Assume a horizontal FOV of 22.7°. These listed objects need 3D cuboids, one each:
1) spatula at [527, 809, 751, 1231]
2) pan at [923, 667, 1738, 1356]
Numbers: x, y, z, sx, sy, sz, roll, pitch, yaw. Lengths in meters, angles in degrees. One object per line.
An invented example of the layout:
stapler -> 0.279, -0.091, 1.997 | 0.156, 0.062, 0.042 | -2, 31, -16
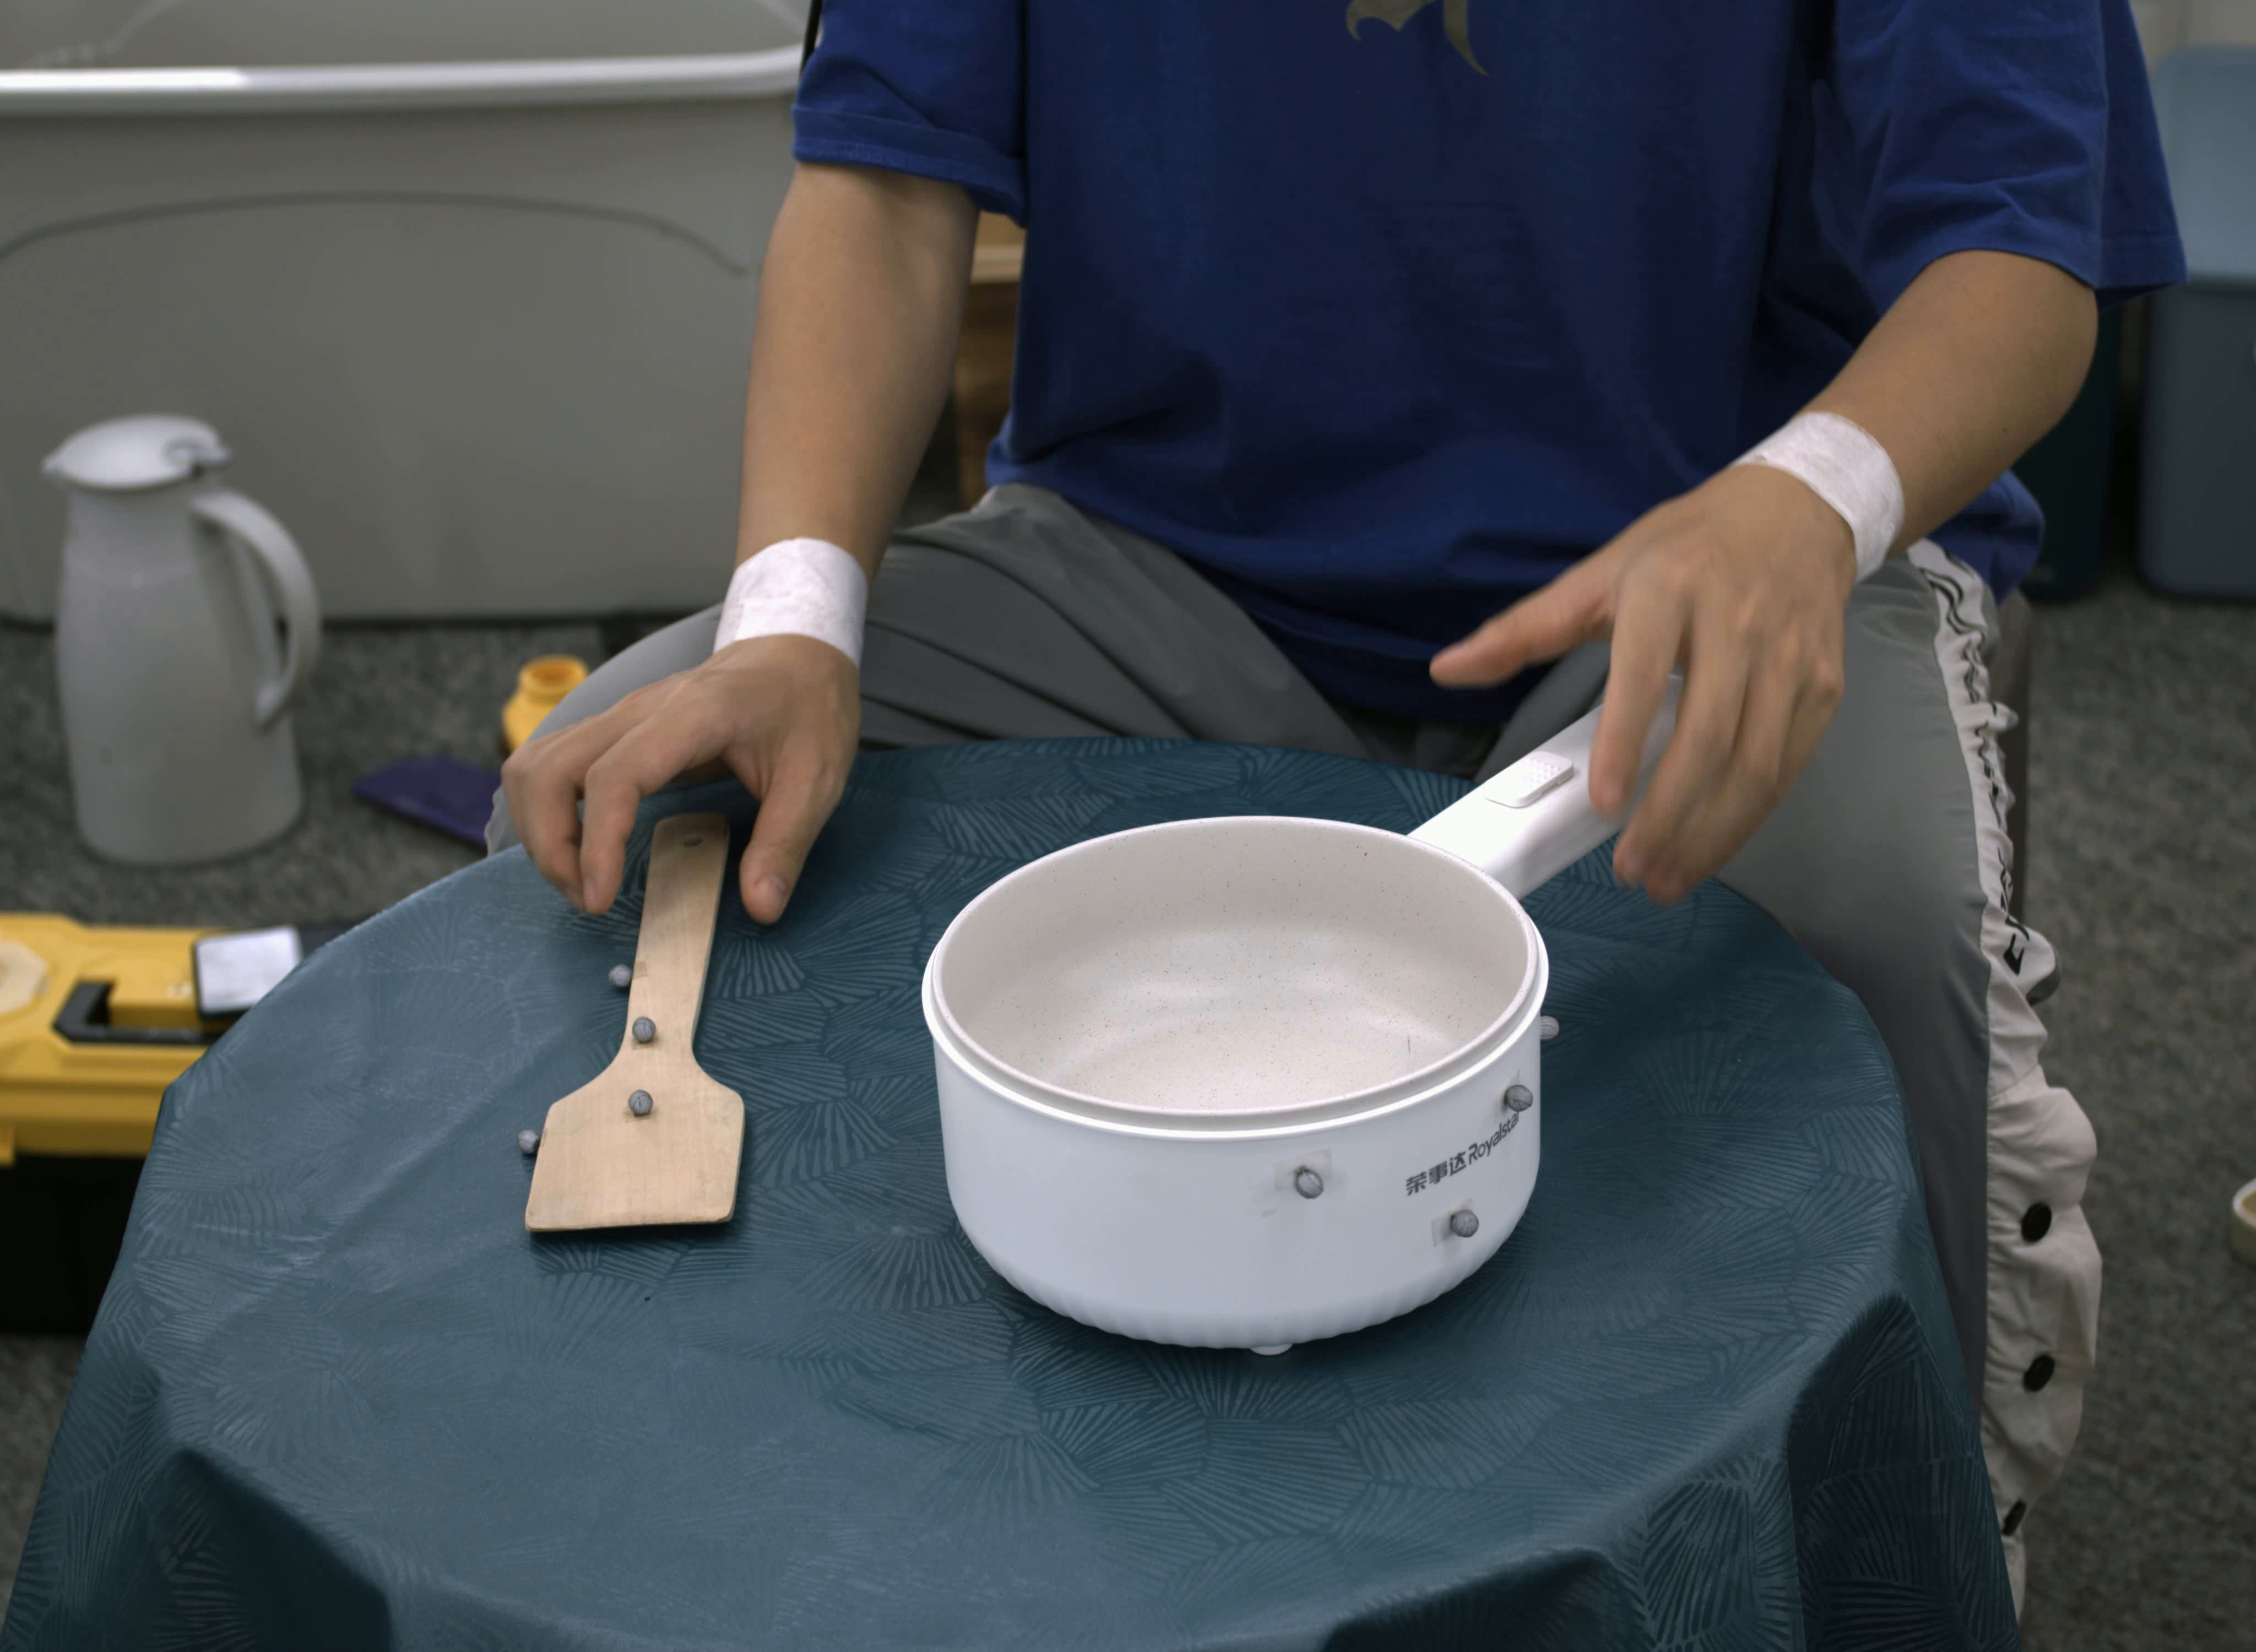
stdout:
spatula -> -0.163, 0.065, 1.977 | 0.072, 0.010, 0.297 | -3, 28, 2
pan -> 0.086, 0.057, 1.871 | 0.200, 0.101, 0.360 | 16, 33, 36
